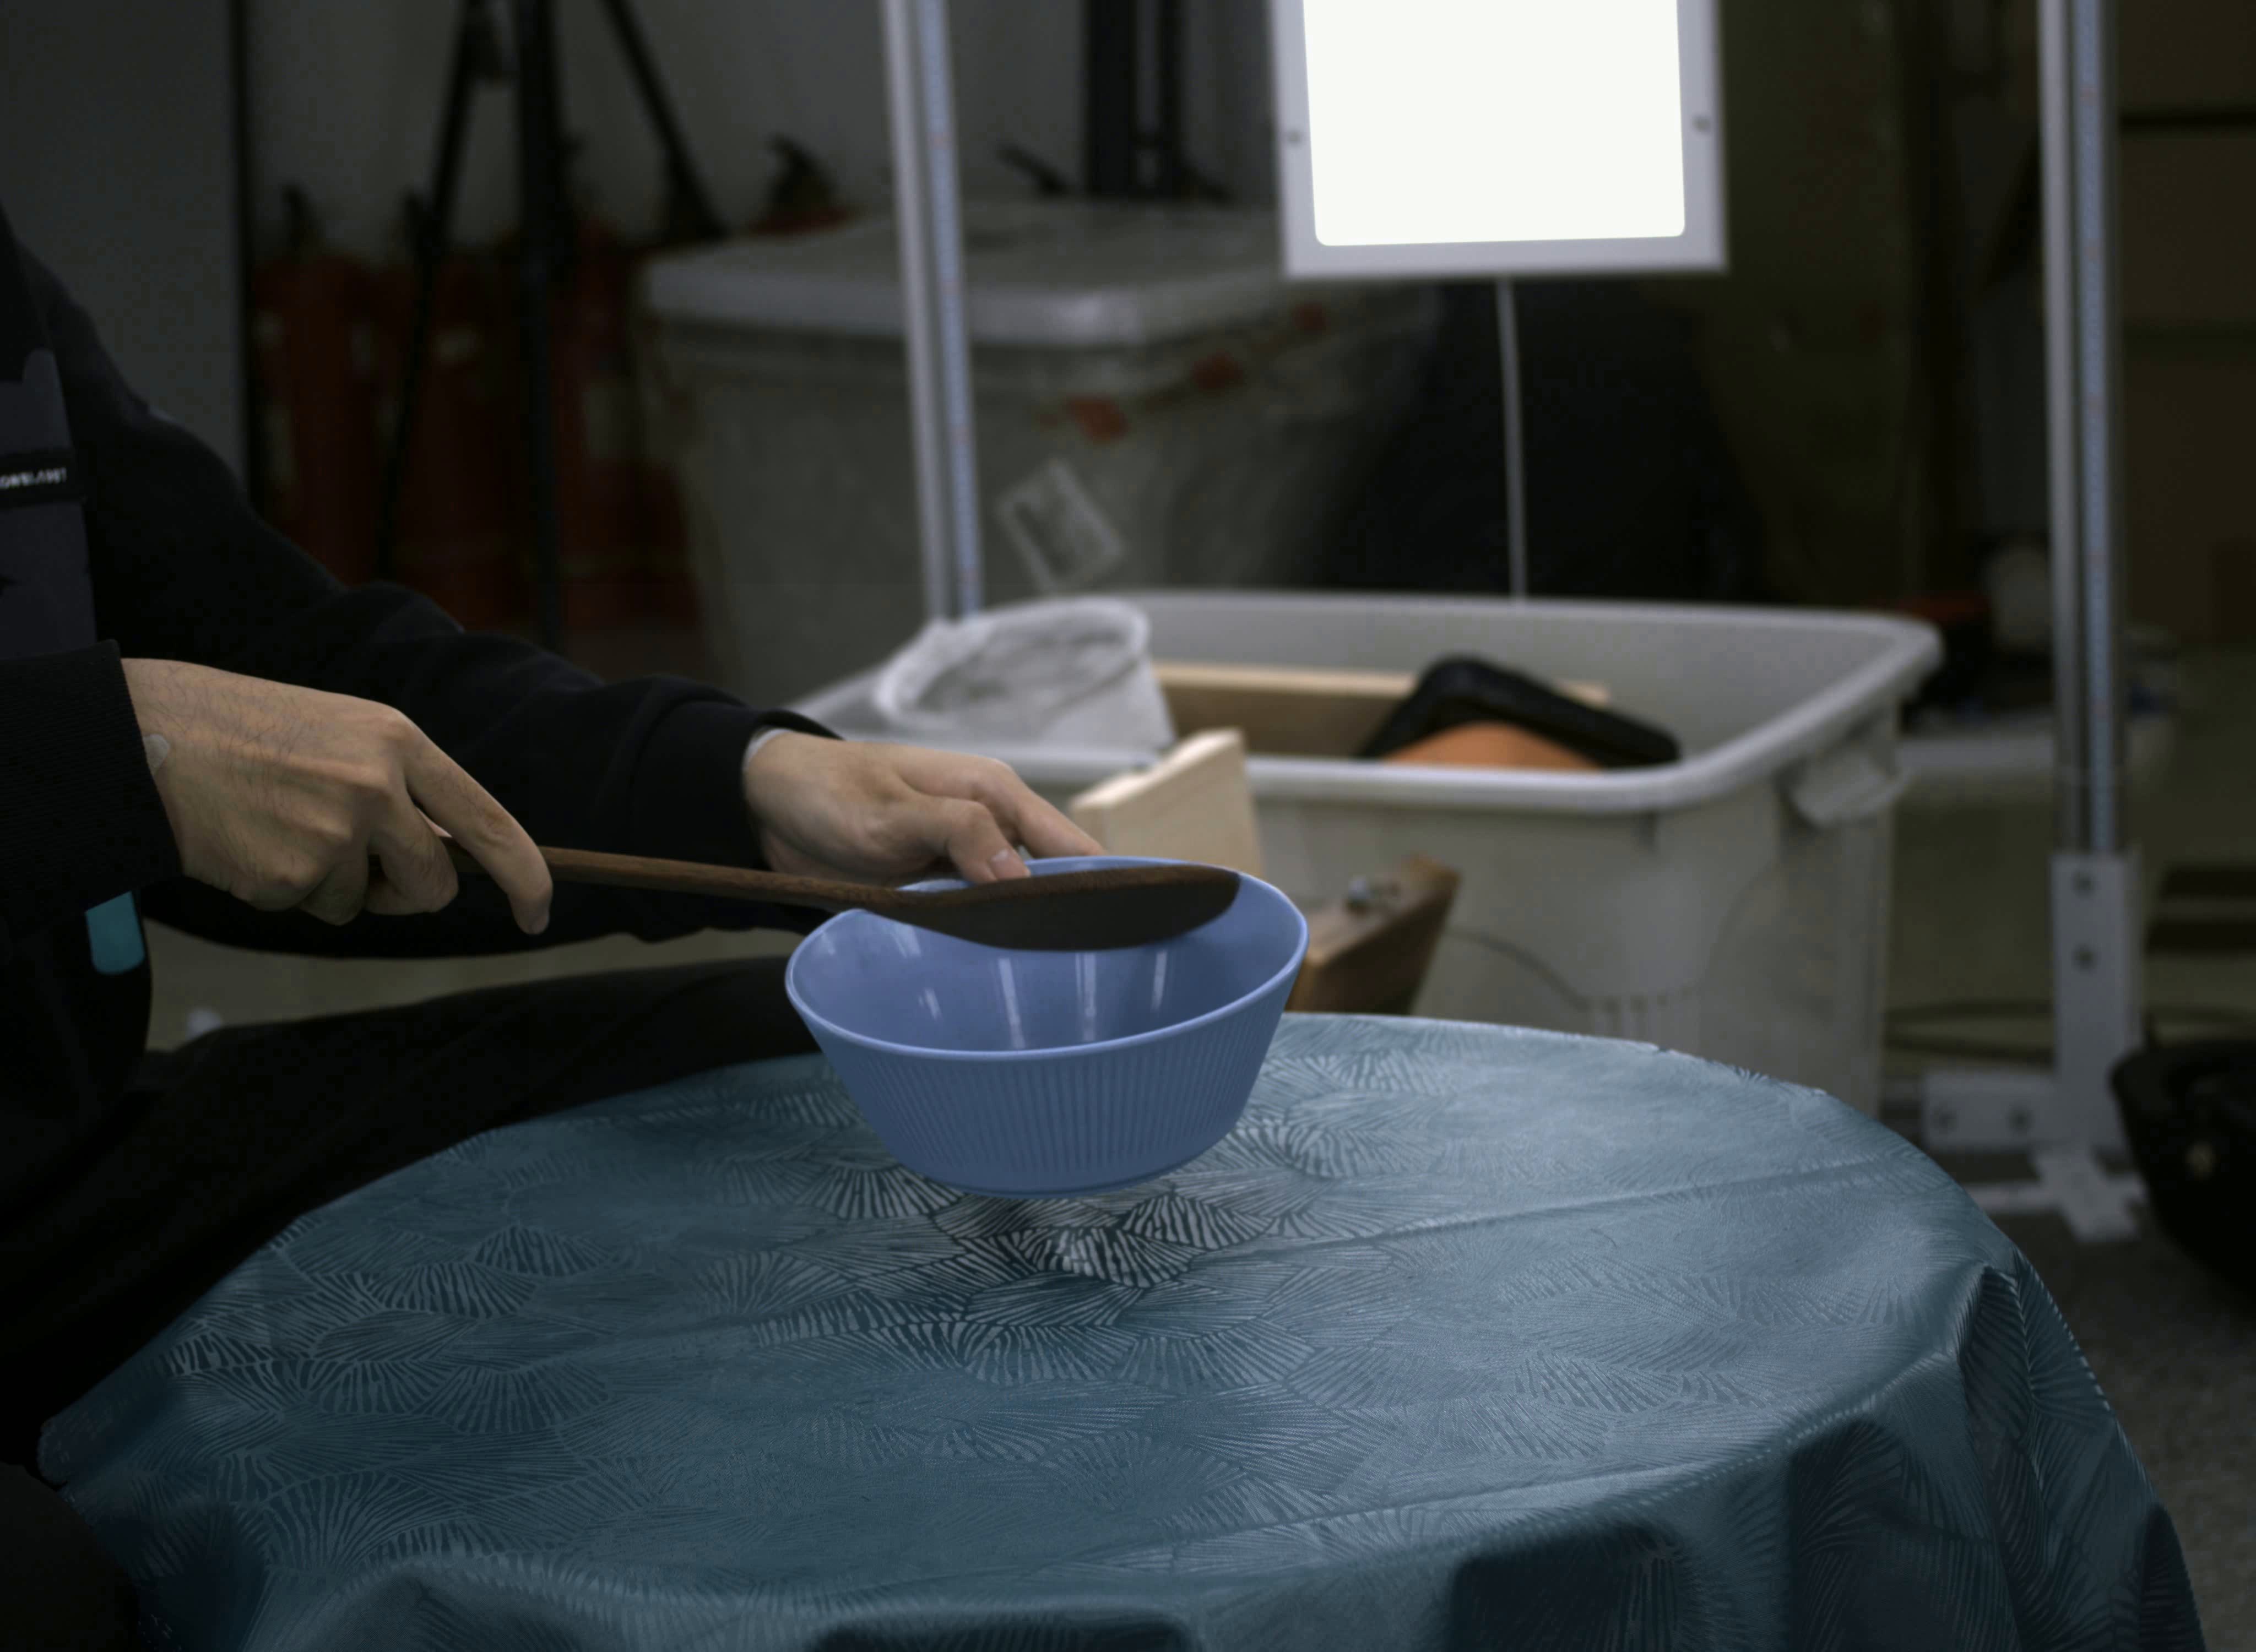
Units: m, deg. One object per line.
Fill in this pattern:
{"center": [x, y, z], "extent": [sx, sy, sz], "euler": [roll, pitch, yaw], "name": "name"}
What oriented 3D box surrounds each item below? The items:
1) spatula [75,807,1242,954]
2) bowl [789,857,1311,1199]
{"center": [-0.152, 0.016, 1.817], "extent": [0.381, 0.016, 0.097], "euler": [6, -16, -10], "name": "spatula"}
{"center": [-0.023, 0.072, 1.837], "extent": [0.176, 0.070, 0.176], "euler": [-7, 19, 1], "name": "bowl"}
